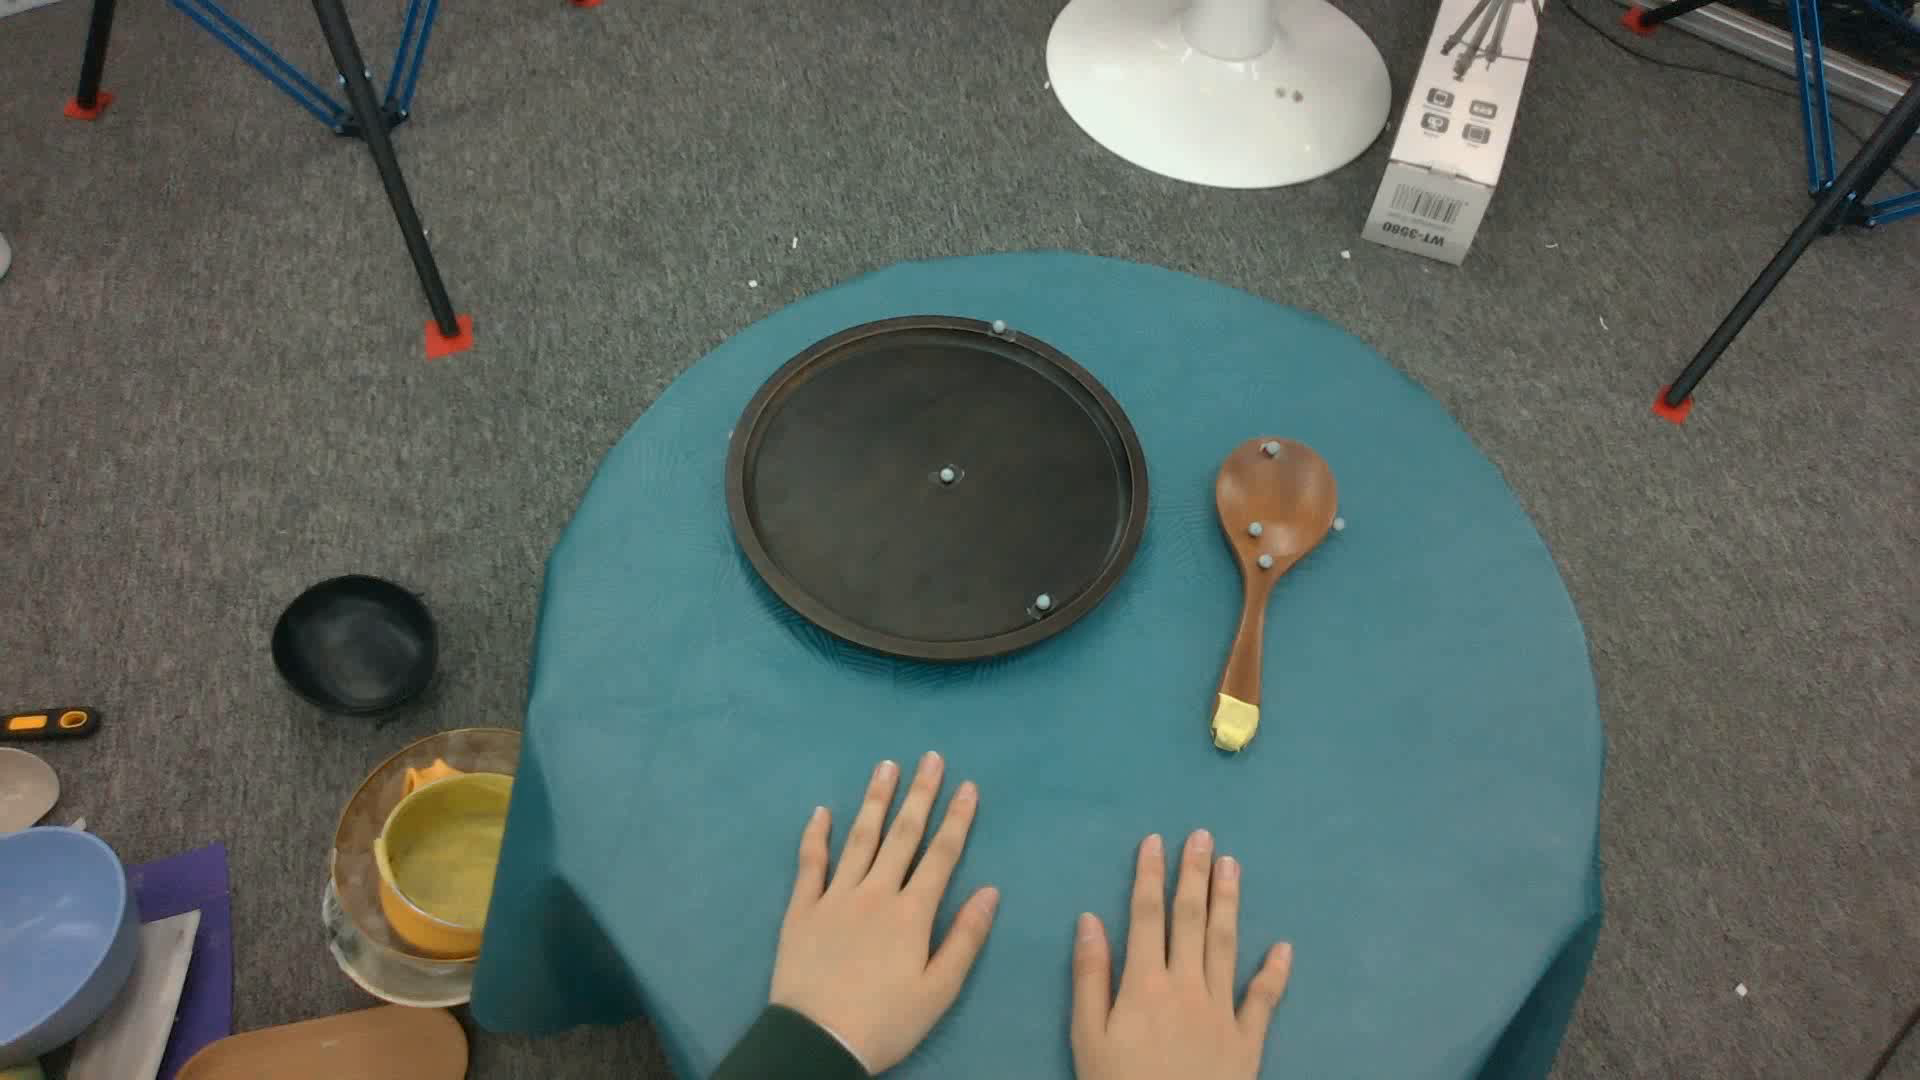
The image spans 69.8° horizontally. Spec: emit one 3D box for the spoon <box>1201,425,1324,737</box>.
[{"bbox_3d":[0.168,0.019,0.801,0.075,0.017,0.217,15,56,4],"label":"spoon"}]

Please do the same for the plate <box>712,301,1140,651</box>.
[{"bbox_3d":[-0.020,-0.044,0.823,0.255,0.029,0.256,2,55,-3],"label":"plate"}]
